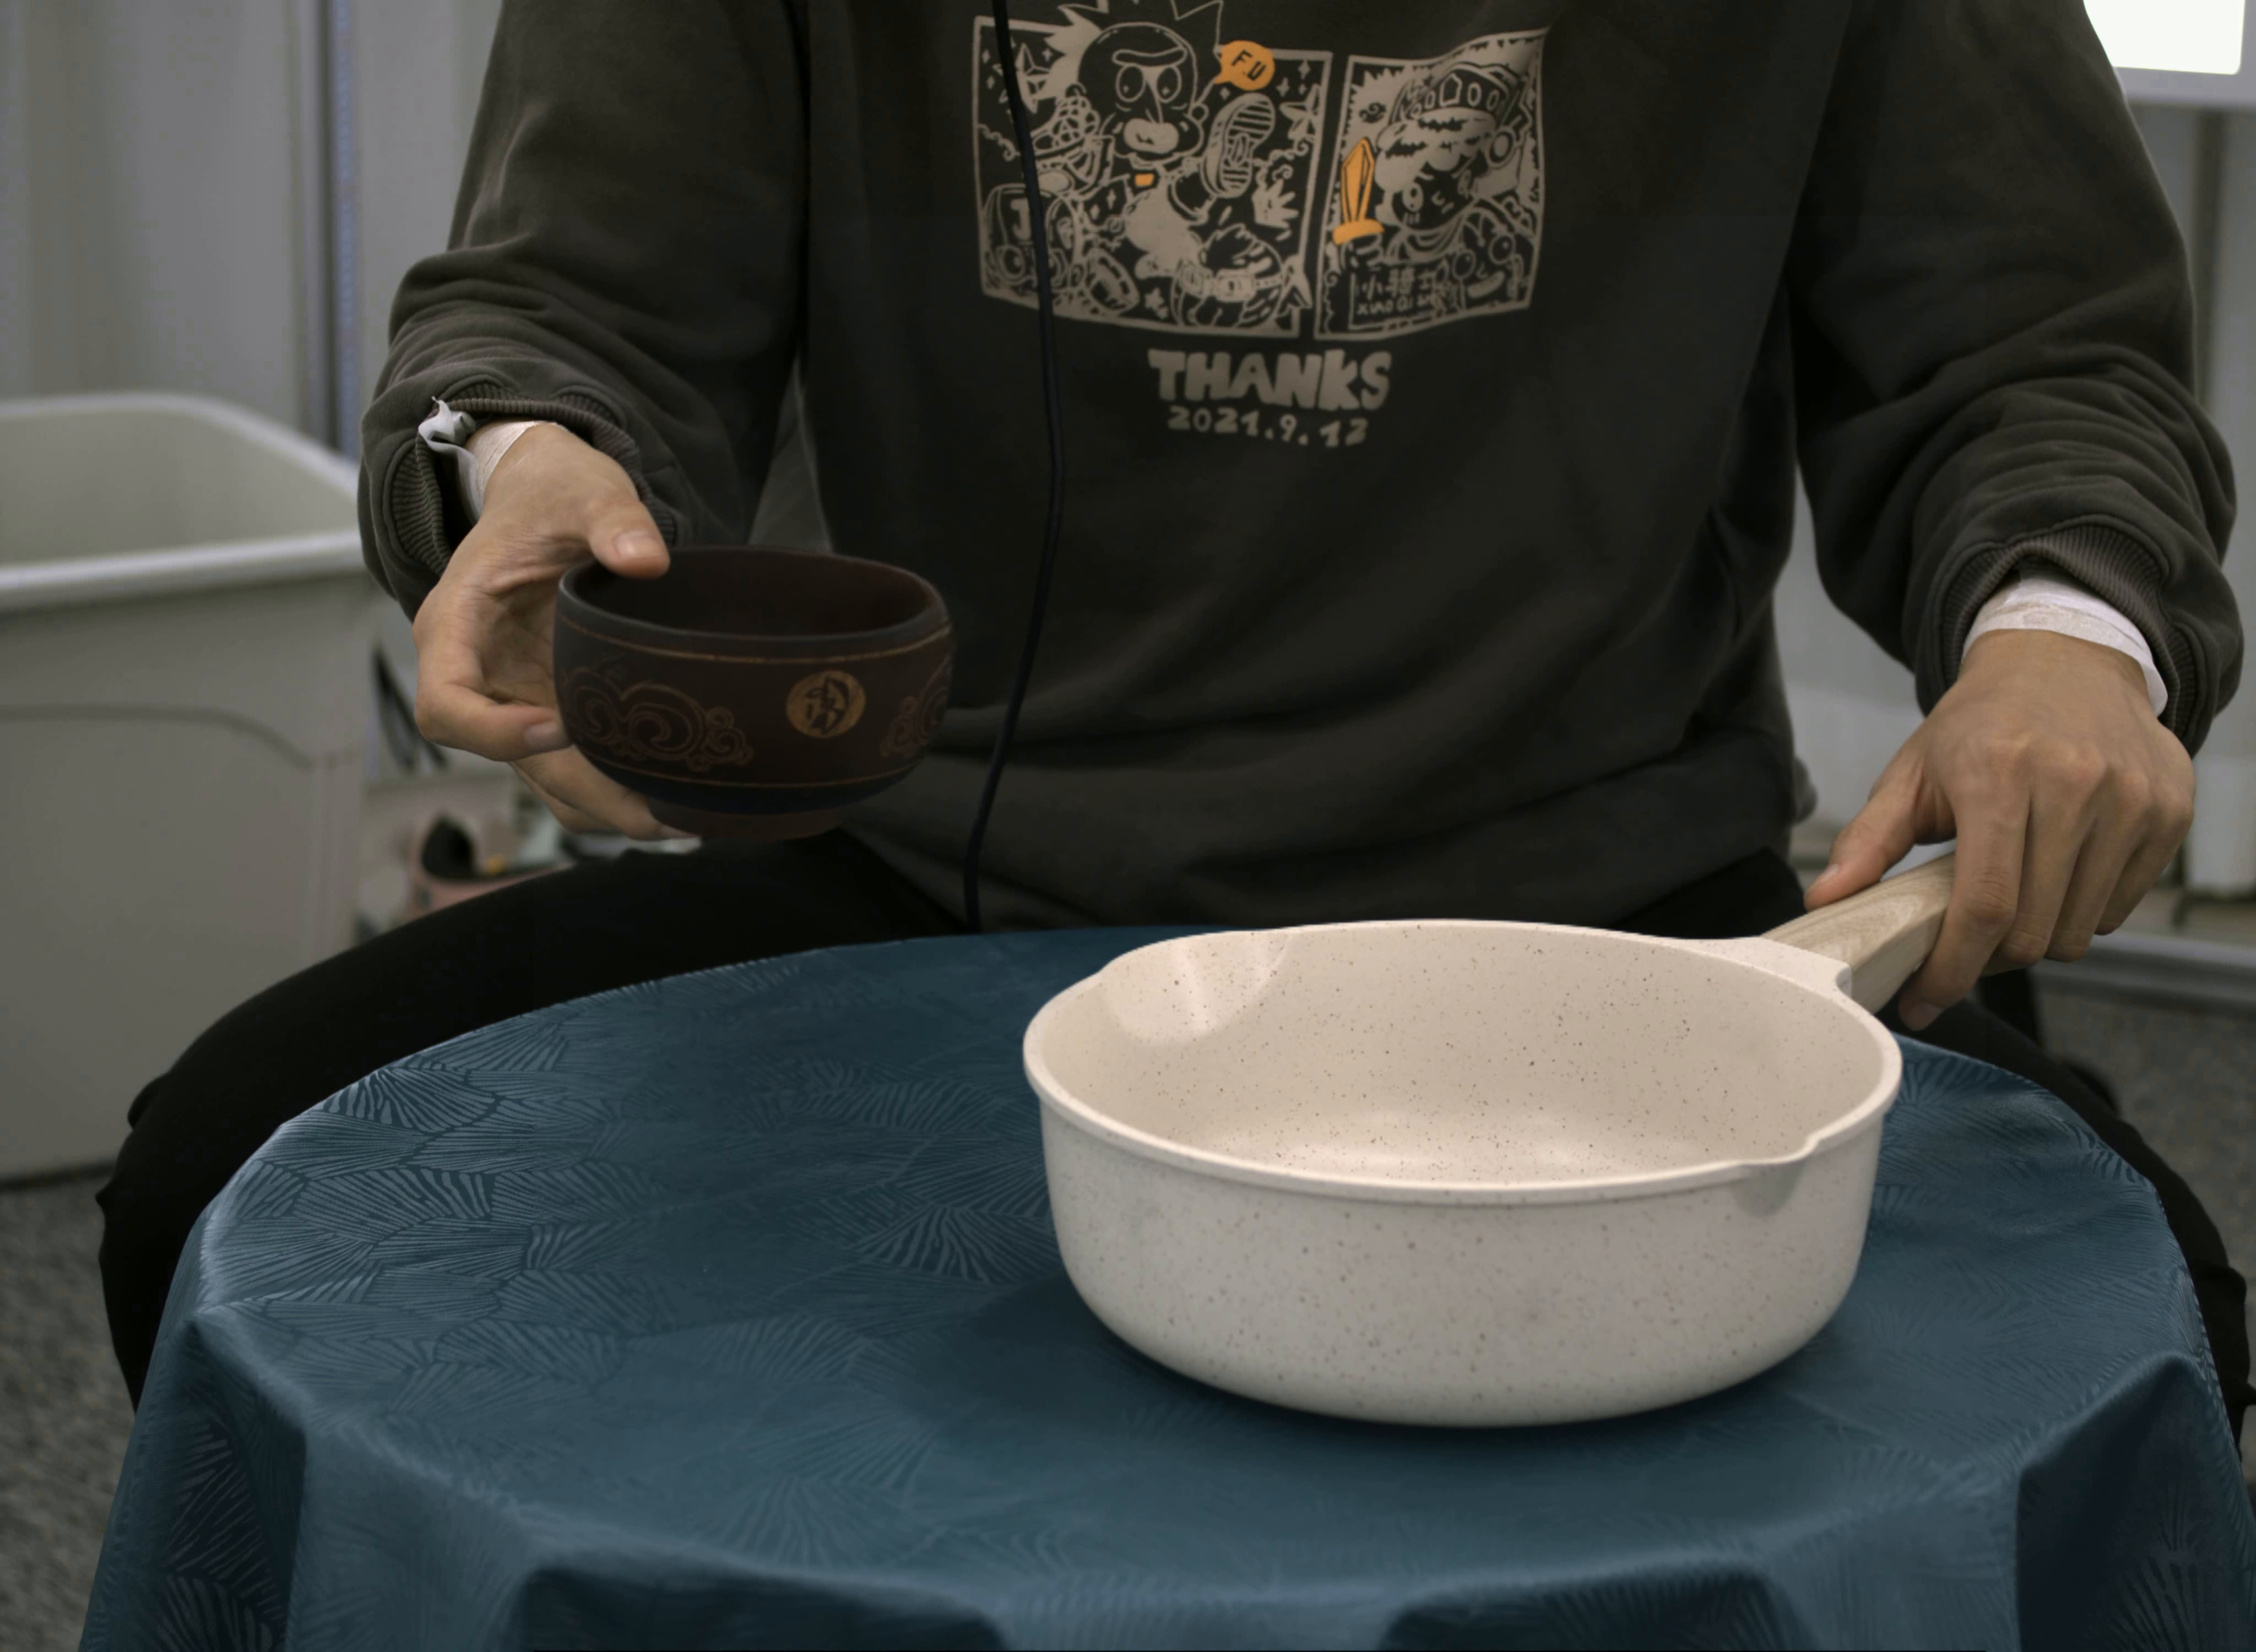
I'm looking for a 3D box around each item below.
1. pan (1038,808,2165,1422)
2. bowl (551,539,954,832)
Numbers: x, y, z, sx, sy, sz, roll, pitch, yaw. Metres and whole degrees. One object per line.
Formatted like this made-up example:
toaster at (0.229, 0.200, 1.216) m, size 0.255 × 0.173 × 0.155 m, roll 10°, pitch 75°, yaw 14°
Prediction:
pan at (0.168, 0.079, 1.573) m, size 0.437 × 0.103 × 0.260 m, roll -12°, pitch 18°, yaw -40°
bowl at (-0.110, -0.039, 1.537) m, size 0.117 × 0.070 × 0.117 m, roll 2°, pitch 14°, yaw 0°
